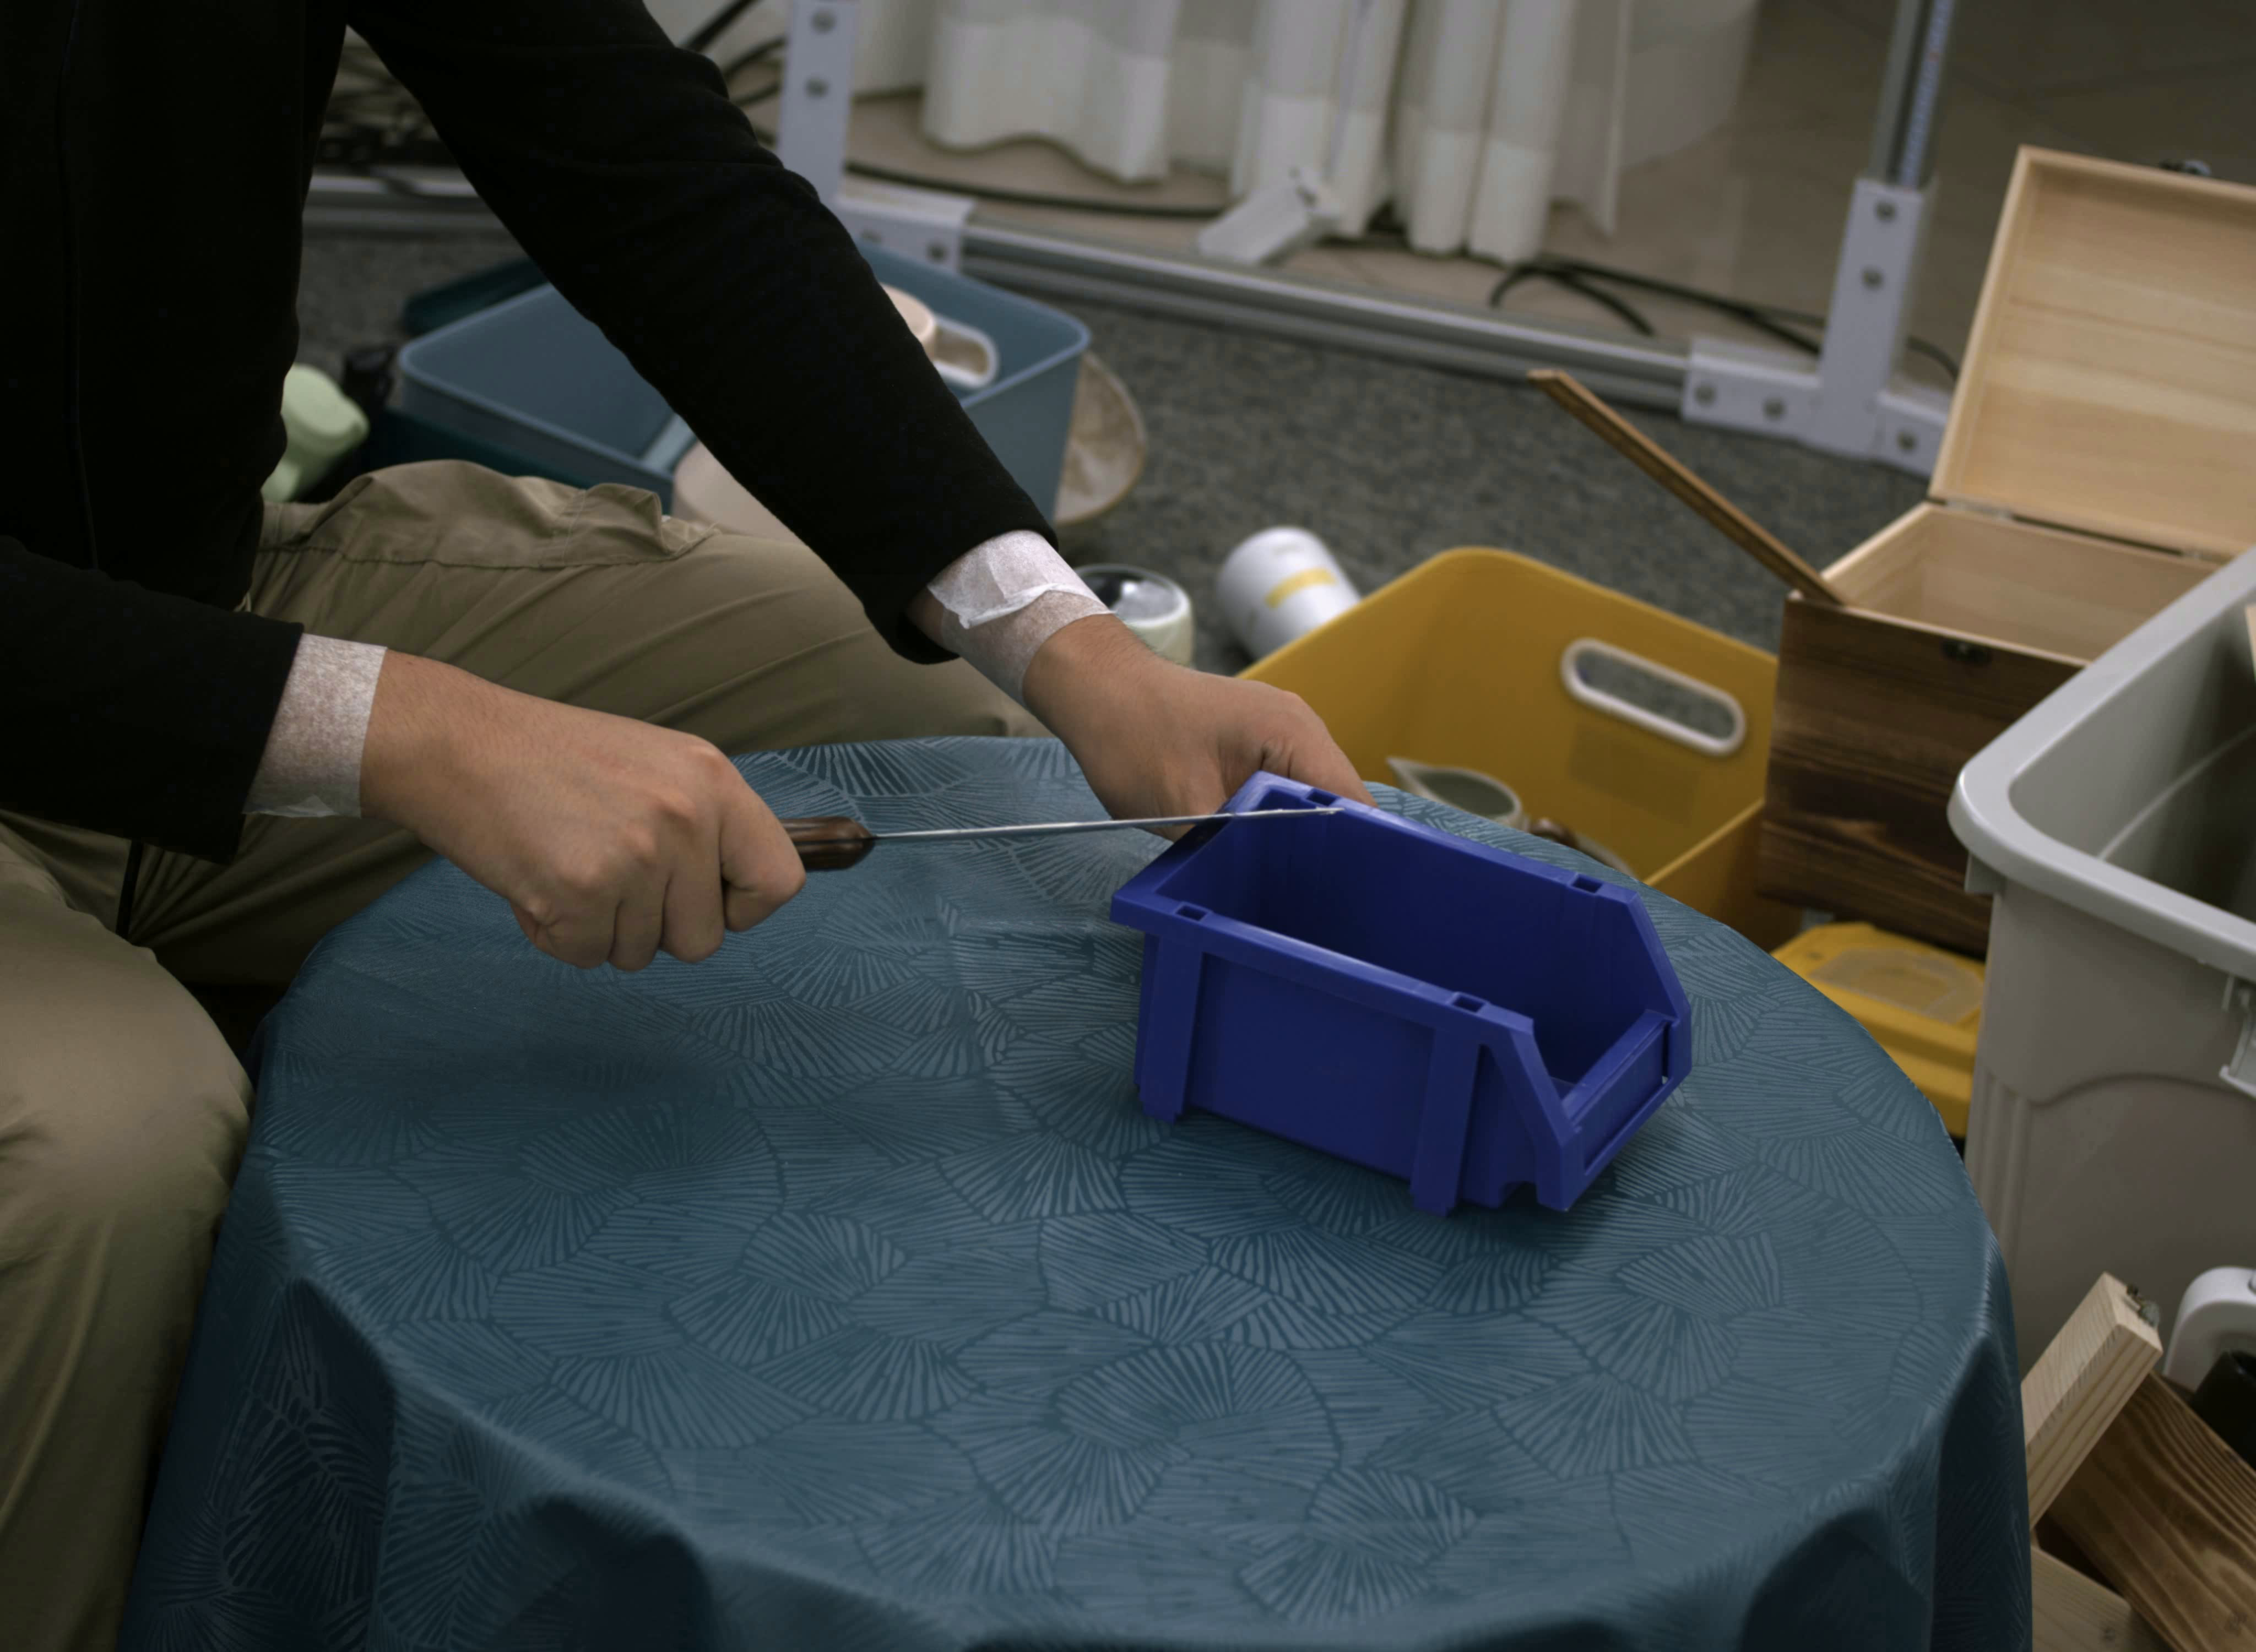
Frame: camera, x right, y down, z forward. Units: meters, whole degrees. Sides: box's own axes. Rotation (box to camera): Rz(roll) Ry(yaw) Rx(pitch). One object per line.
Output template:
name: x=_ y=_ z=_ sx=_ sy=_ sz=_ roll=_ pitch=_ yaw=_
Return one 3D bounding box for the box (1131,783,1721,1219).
box: x=0.105 y=0.064 z=1.853 sx=0.180 sy=0.081 sz=0.124 roll=17 pitch=28 yaw=24

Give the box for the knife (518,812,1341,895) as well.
knife: x=-0.066 y=0.005 z=1.832 sx=0.287 sy=0.020 sz=0.050 roll=-4 pitch=-2 yaw=-13
